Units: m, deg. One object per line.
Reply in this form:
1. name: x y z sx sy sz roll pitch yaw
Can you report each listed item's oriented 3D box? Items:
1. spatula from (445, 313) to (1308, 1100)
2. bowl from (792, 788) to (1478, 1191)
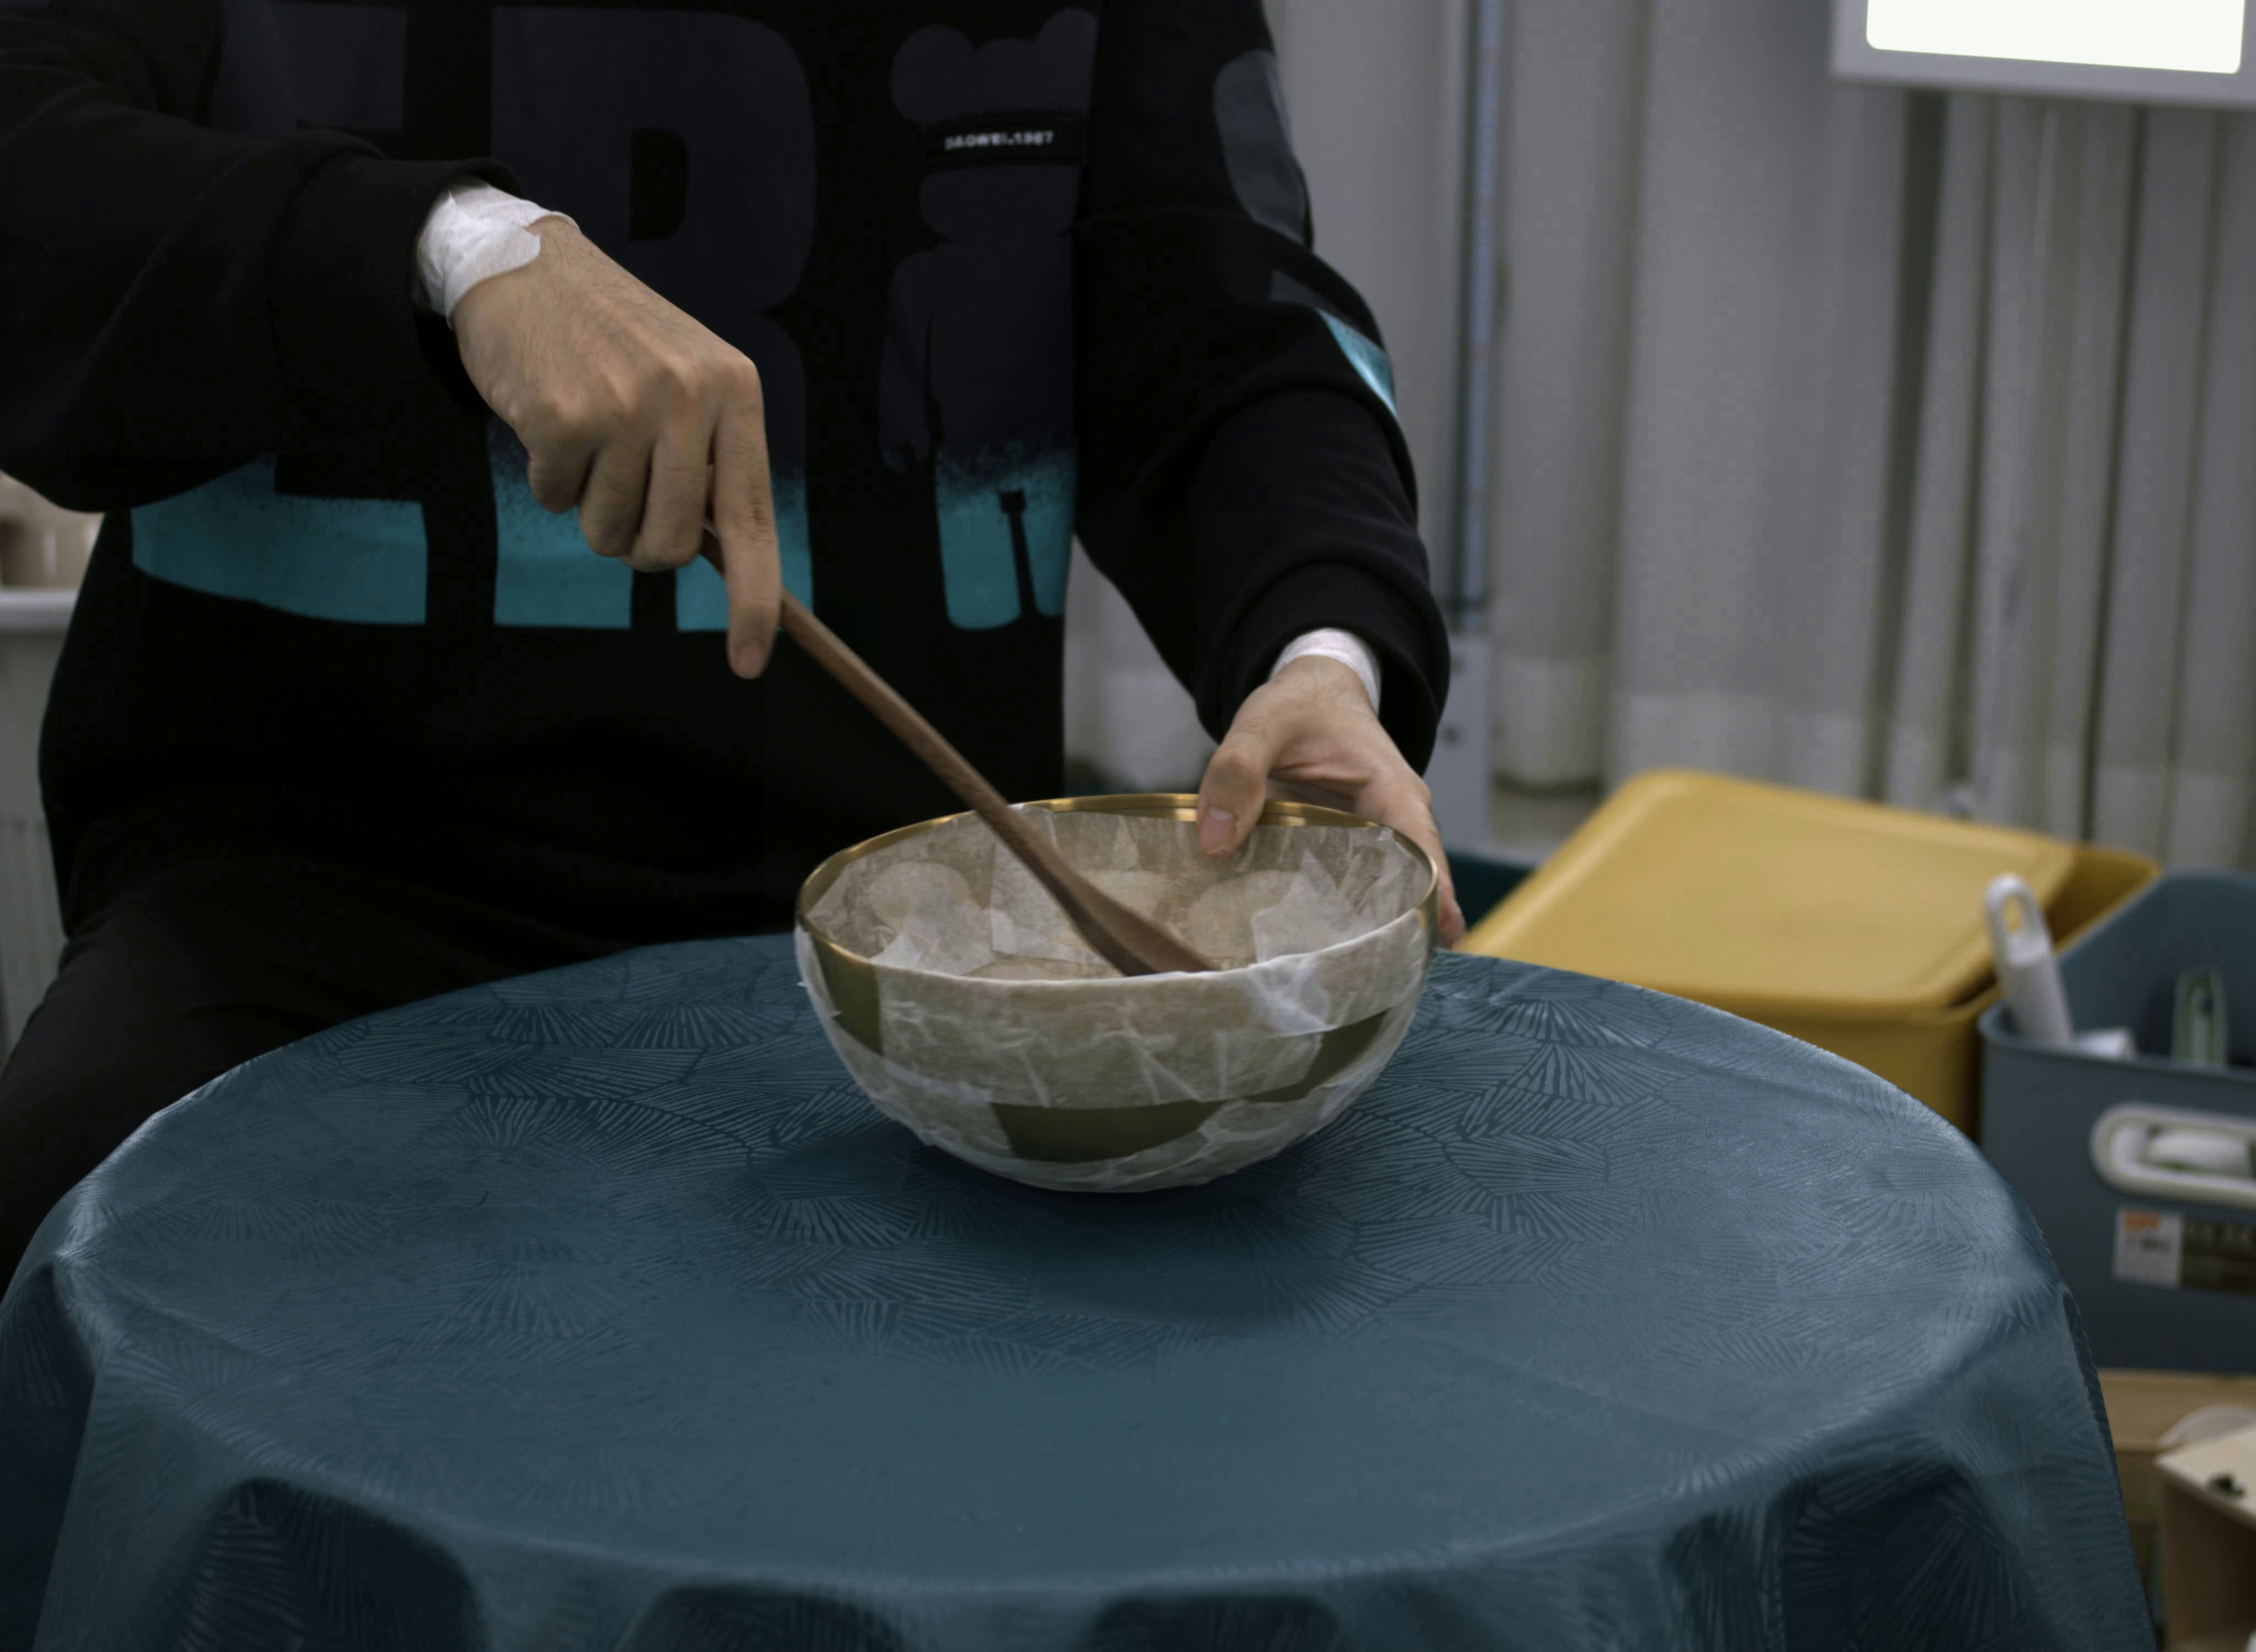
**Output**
1. spatula: -0.082 -0.041 1.637 0.383 0.016 0.097 43 7 17
2. bowl: 0.003 0.058 1.636 0.214 0.095 0.213 -3 15 1
